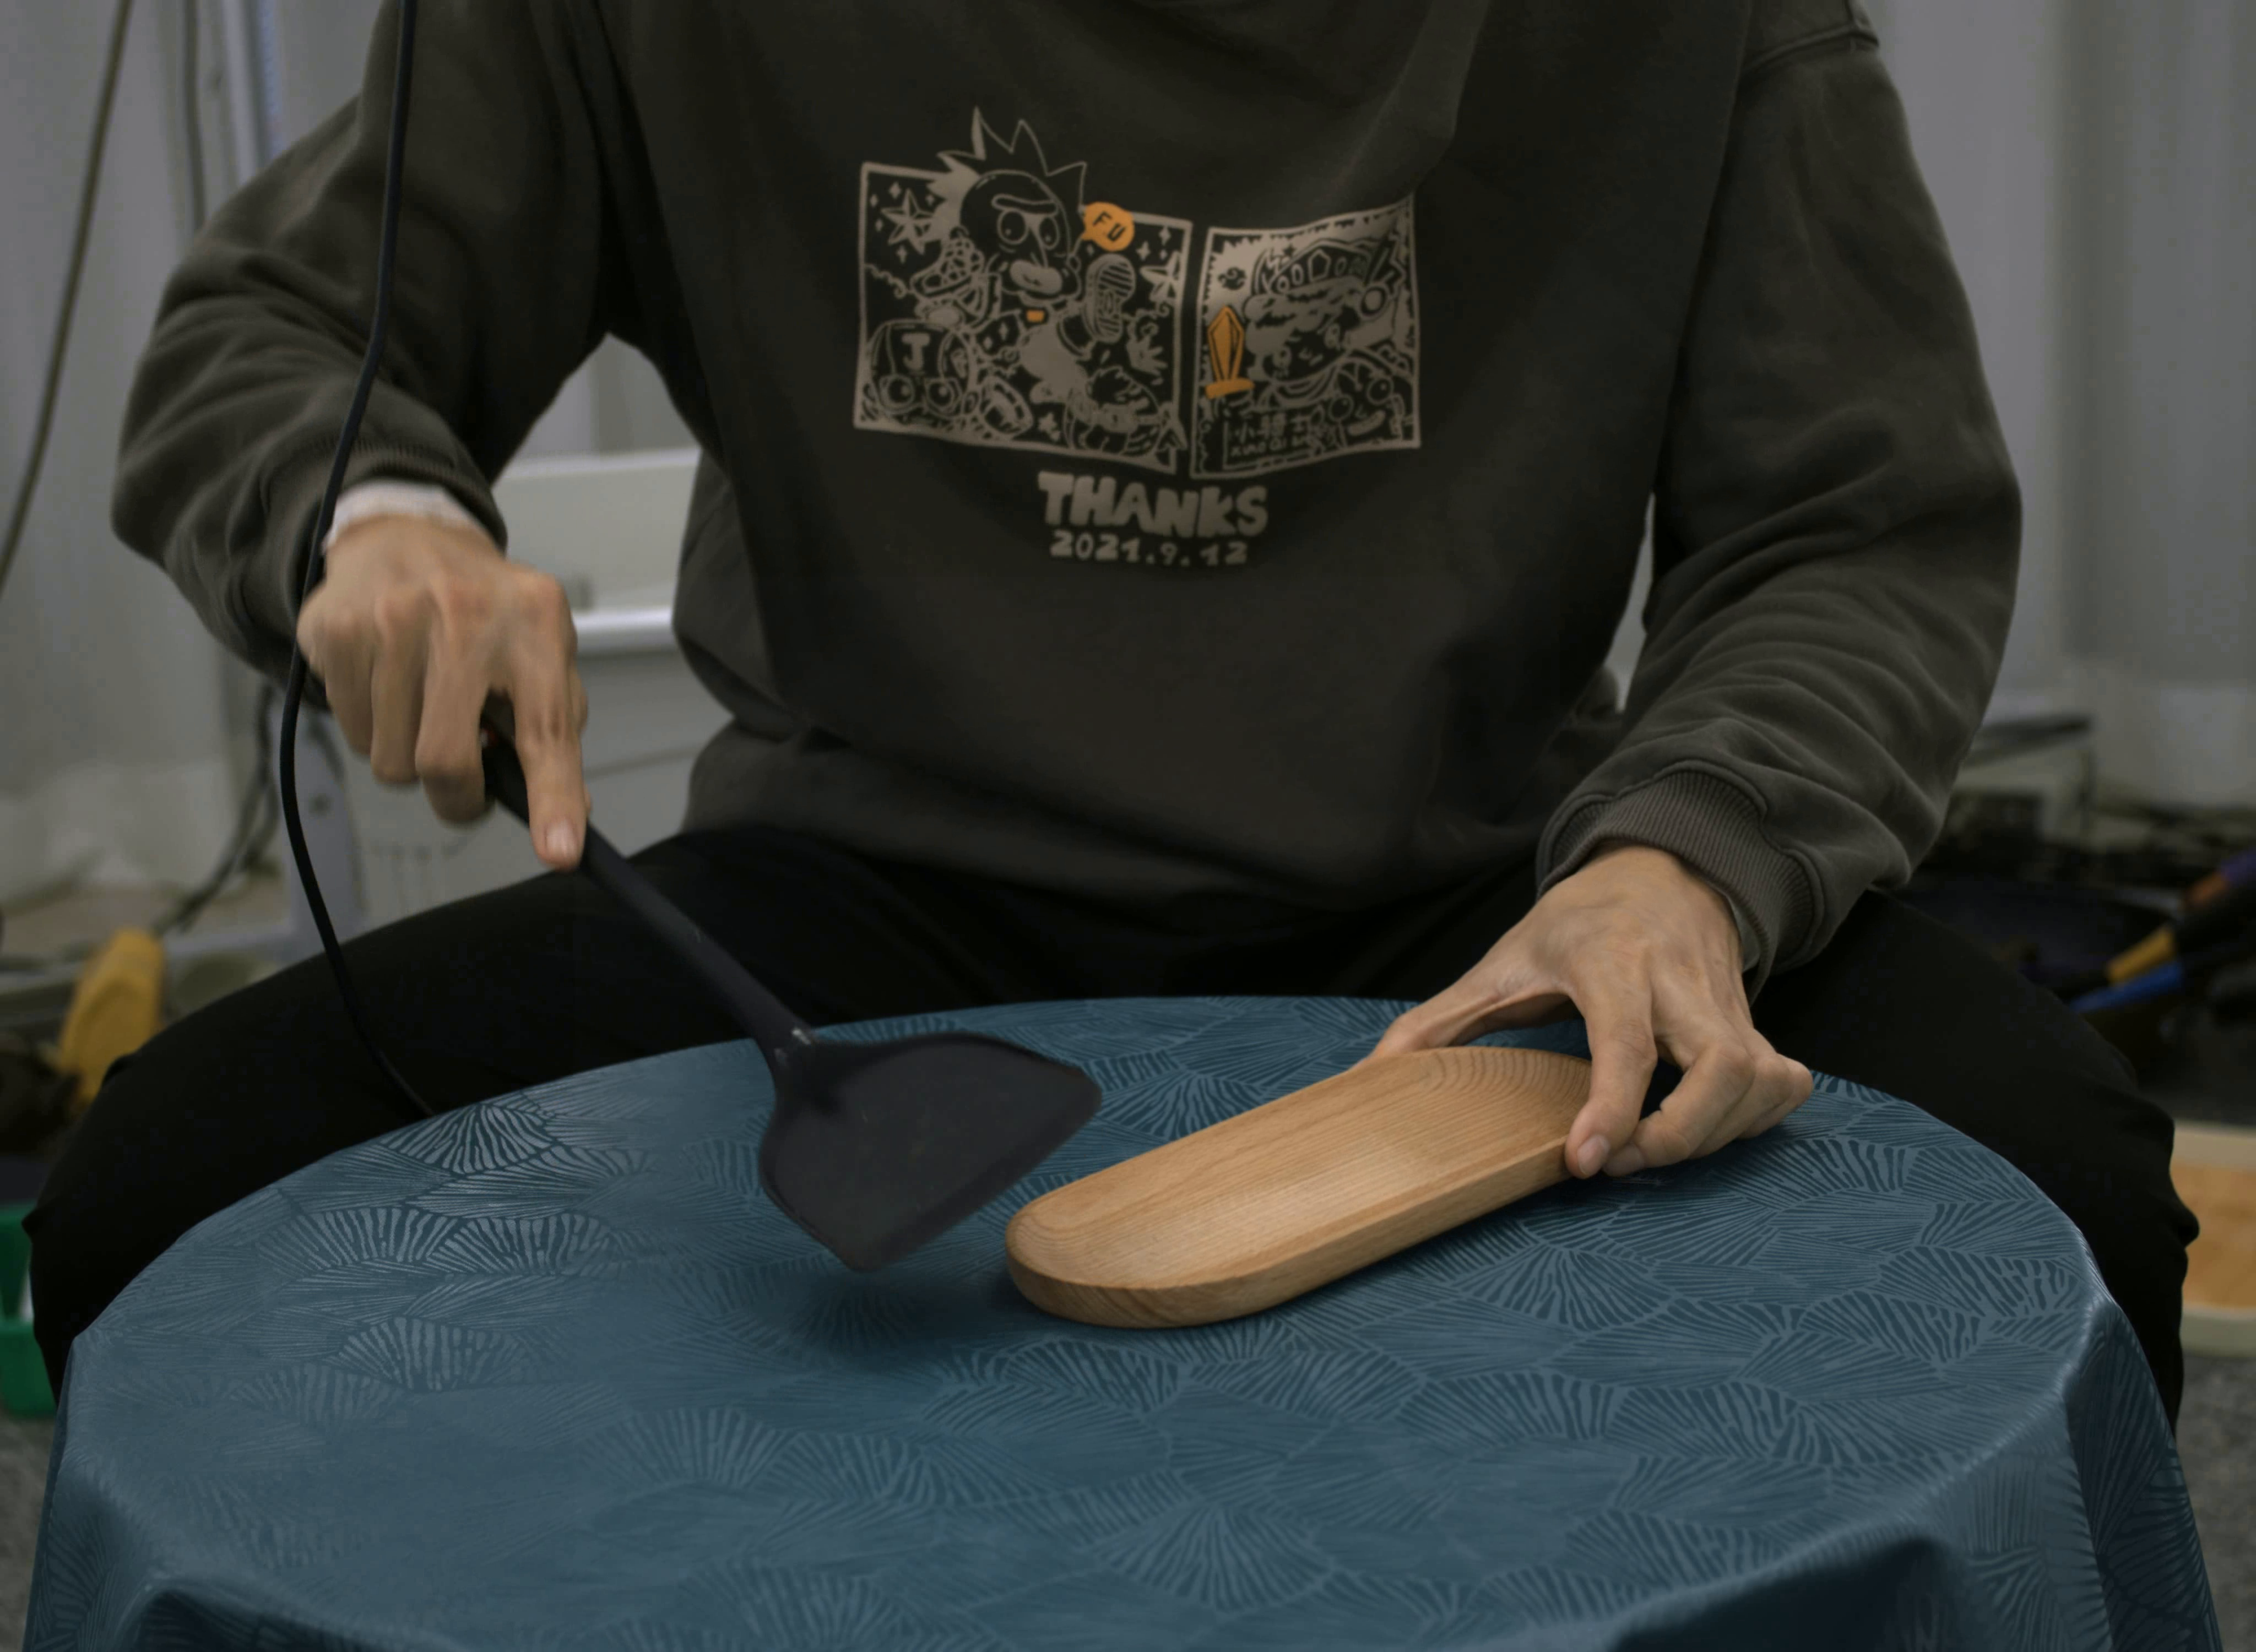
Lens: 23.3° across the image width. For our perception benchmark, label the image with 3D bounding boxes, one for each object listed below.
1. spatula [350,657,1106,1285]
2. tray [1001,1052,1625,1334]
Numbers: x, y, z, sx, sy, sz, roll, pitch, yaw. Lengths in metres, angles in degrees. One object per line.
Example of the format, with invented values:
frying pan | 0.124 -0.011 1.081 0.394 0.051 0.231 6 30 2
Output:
spatula | -0.143 0.030 1.686 0.100 0.040 0.329 -34 56 -24
tray | 0.059 0.111 1.680 0.231 0.020 0.102 -21 23 -40
